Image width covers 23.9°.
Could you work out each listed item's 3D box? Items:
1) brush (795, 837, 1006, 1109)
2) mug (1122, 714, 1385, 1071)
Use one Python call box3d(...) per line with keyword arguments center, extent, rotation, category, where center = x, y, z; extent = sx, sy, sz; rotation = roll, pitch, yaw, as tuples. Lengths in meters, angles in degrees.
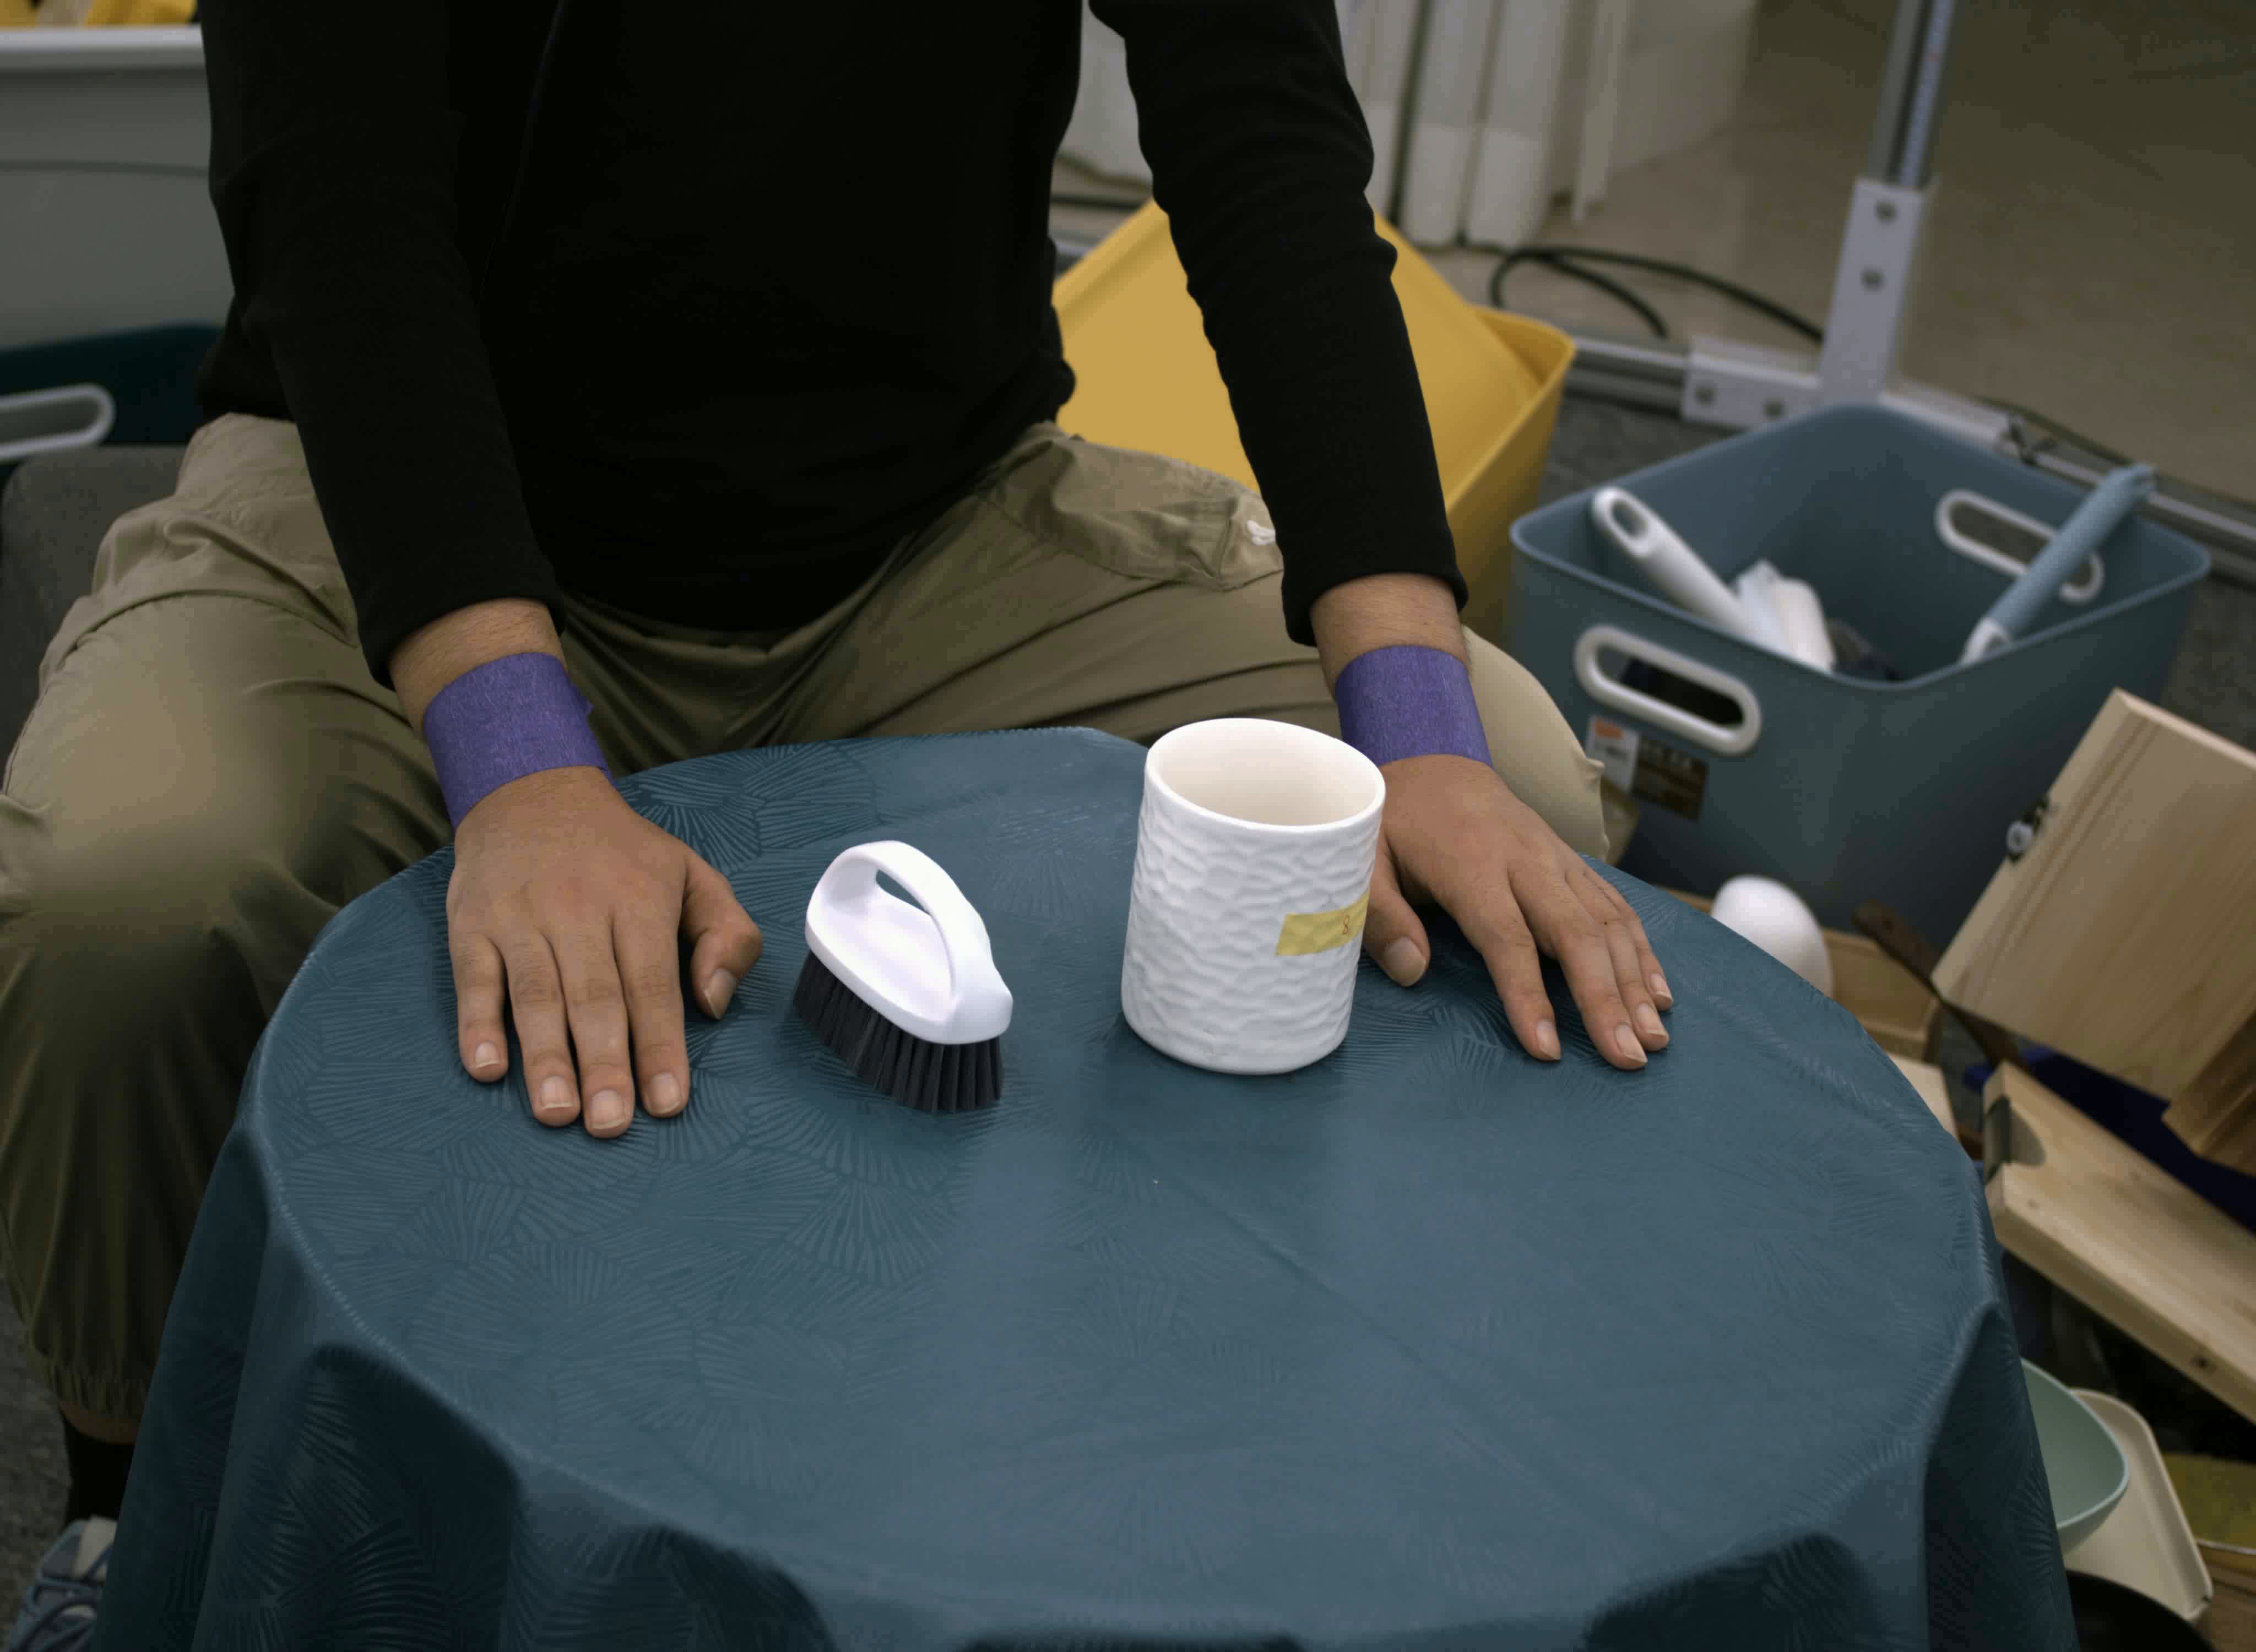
box3d(center=(-0.078, 0.045, 1.857), extent=(0.050, 0.072, 0.100), rotation=(-8, 31, -32), category="brush")
box3d(center=(0.037, 0.017, 1.904), extent=(0.084, 0.101, 0.119), rotation=(-6, 29, -24), category="mug")
